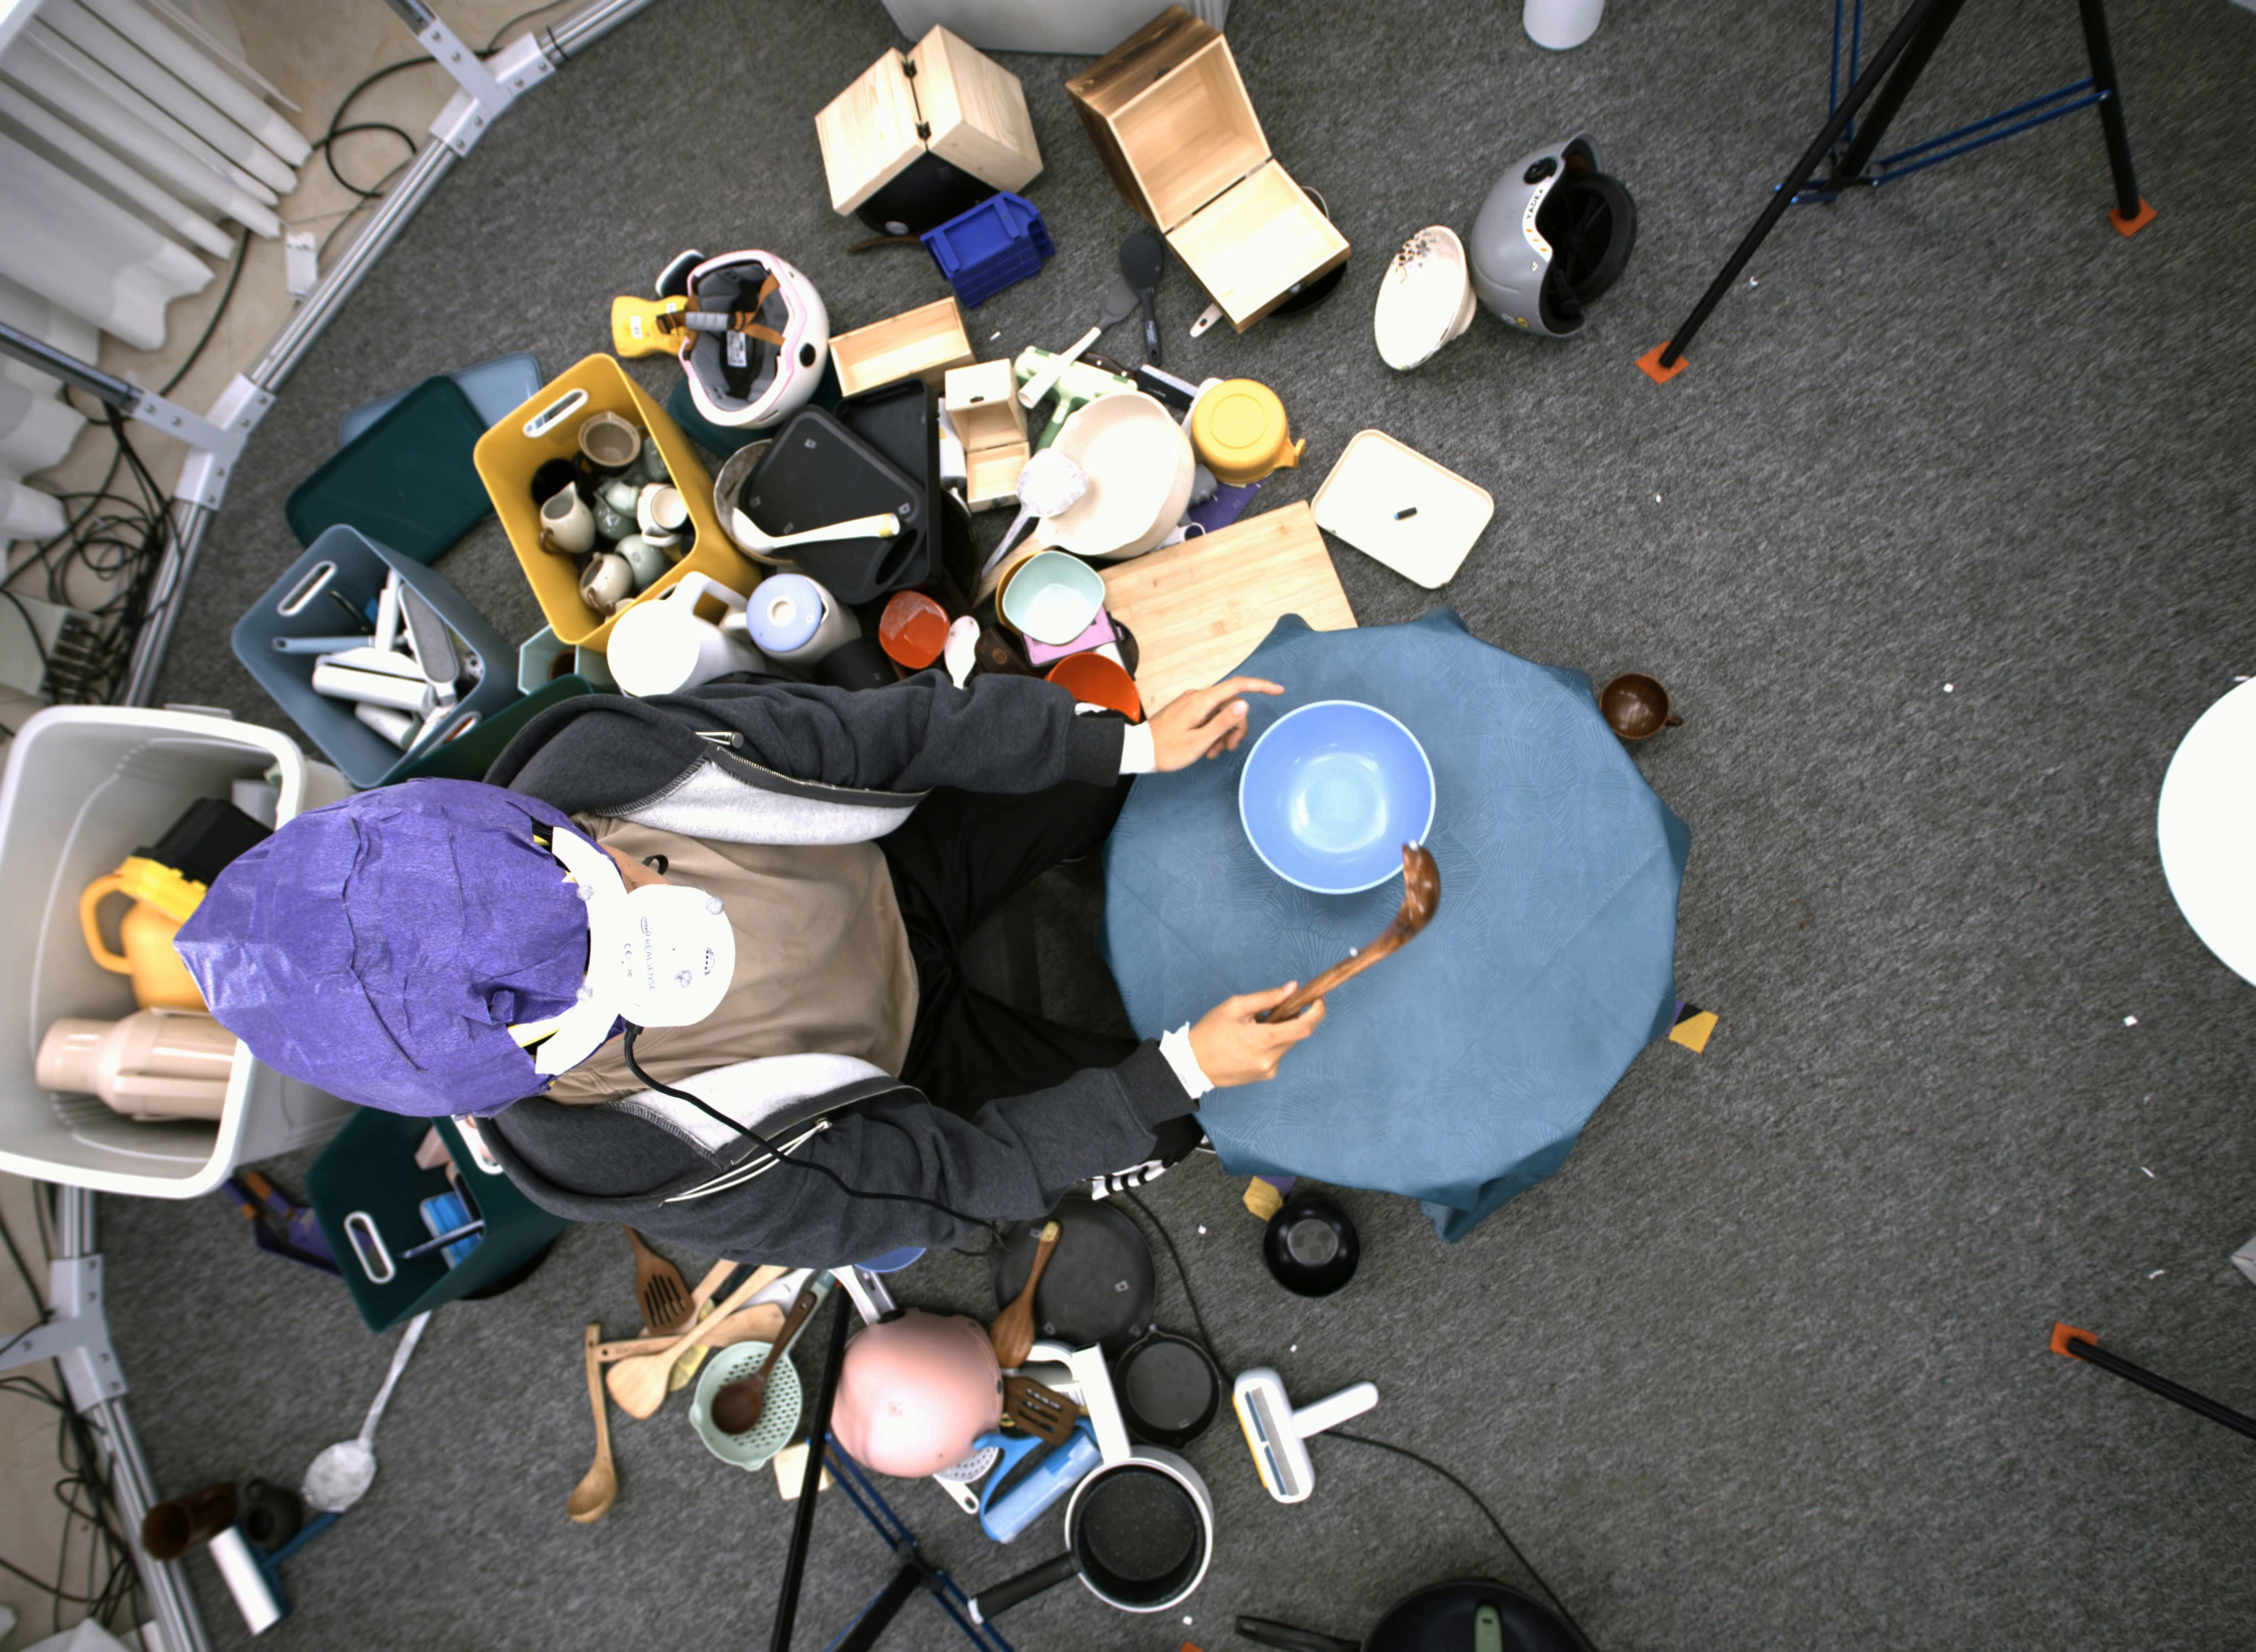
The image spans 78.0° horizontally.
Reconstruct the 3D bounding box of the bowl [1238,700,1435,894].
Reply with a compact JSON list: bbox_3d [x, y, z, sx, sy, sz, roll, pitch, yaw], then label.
[{"bbox_3d":[0.217,-0.026,1.427,0.197,0.095,0.196,-1,87,11],"label":"bowl"}]

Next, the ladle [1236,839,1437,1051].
[{"bbox_3d":[0.178,0.112,1.275,0.077,0.080,0.279,44,119,-11],"label":"ladle"}]
